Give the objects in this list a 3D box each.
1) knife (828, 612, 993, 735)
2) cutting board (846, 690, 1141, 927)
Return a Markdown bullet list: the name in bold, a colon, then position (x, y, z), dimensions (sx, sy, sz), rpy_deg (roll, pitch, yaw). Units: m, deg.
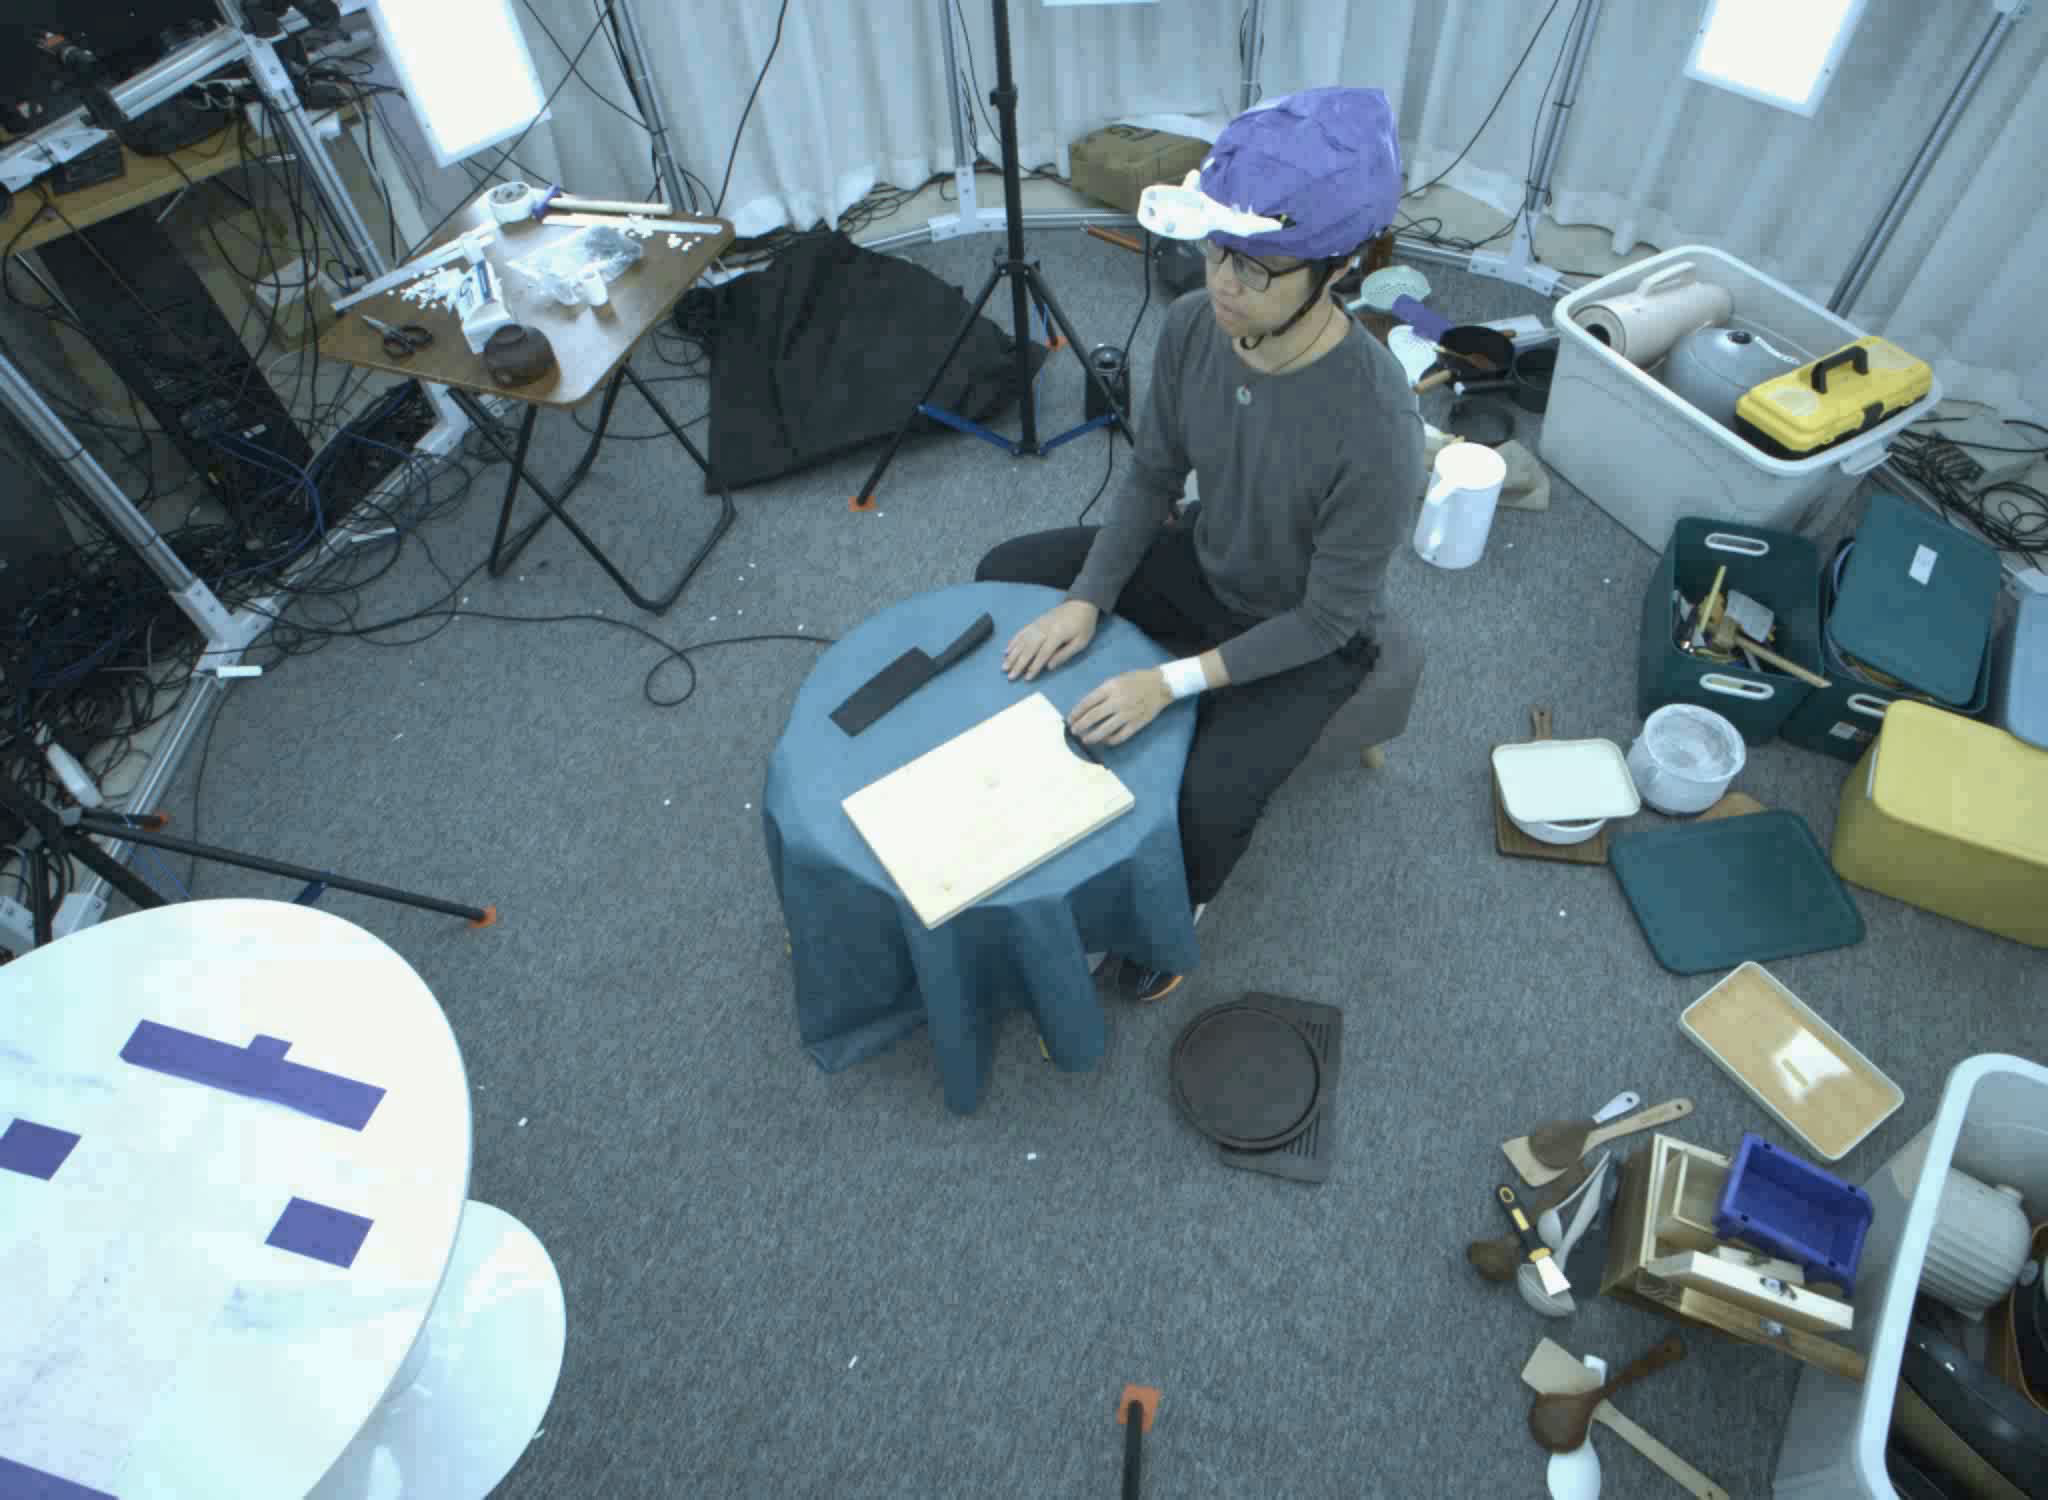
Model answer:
- **knife**: position (-0.167, -0.125, 1.880), dimensions (0.304, 0.021, 0.079), rpy_deg (-36, 60, -20)
- **cutting board**: position (-0.047, 0.072, 1.734), dimensions (0.351, 0.024, 0.246), rpy_deg (-30, 60, -19)
